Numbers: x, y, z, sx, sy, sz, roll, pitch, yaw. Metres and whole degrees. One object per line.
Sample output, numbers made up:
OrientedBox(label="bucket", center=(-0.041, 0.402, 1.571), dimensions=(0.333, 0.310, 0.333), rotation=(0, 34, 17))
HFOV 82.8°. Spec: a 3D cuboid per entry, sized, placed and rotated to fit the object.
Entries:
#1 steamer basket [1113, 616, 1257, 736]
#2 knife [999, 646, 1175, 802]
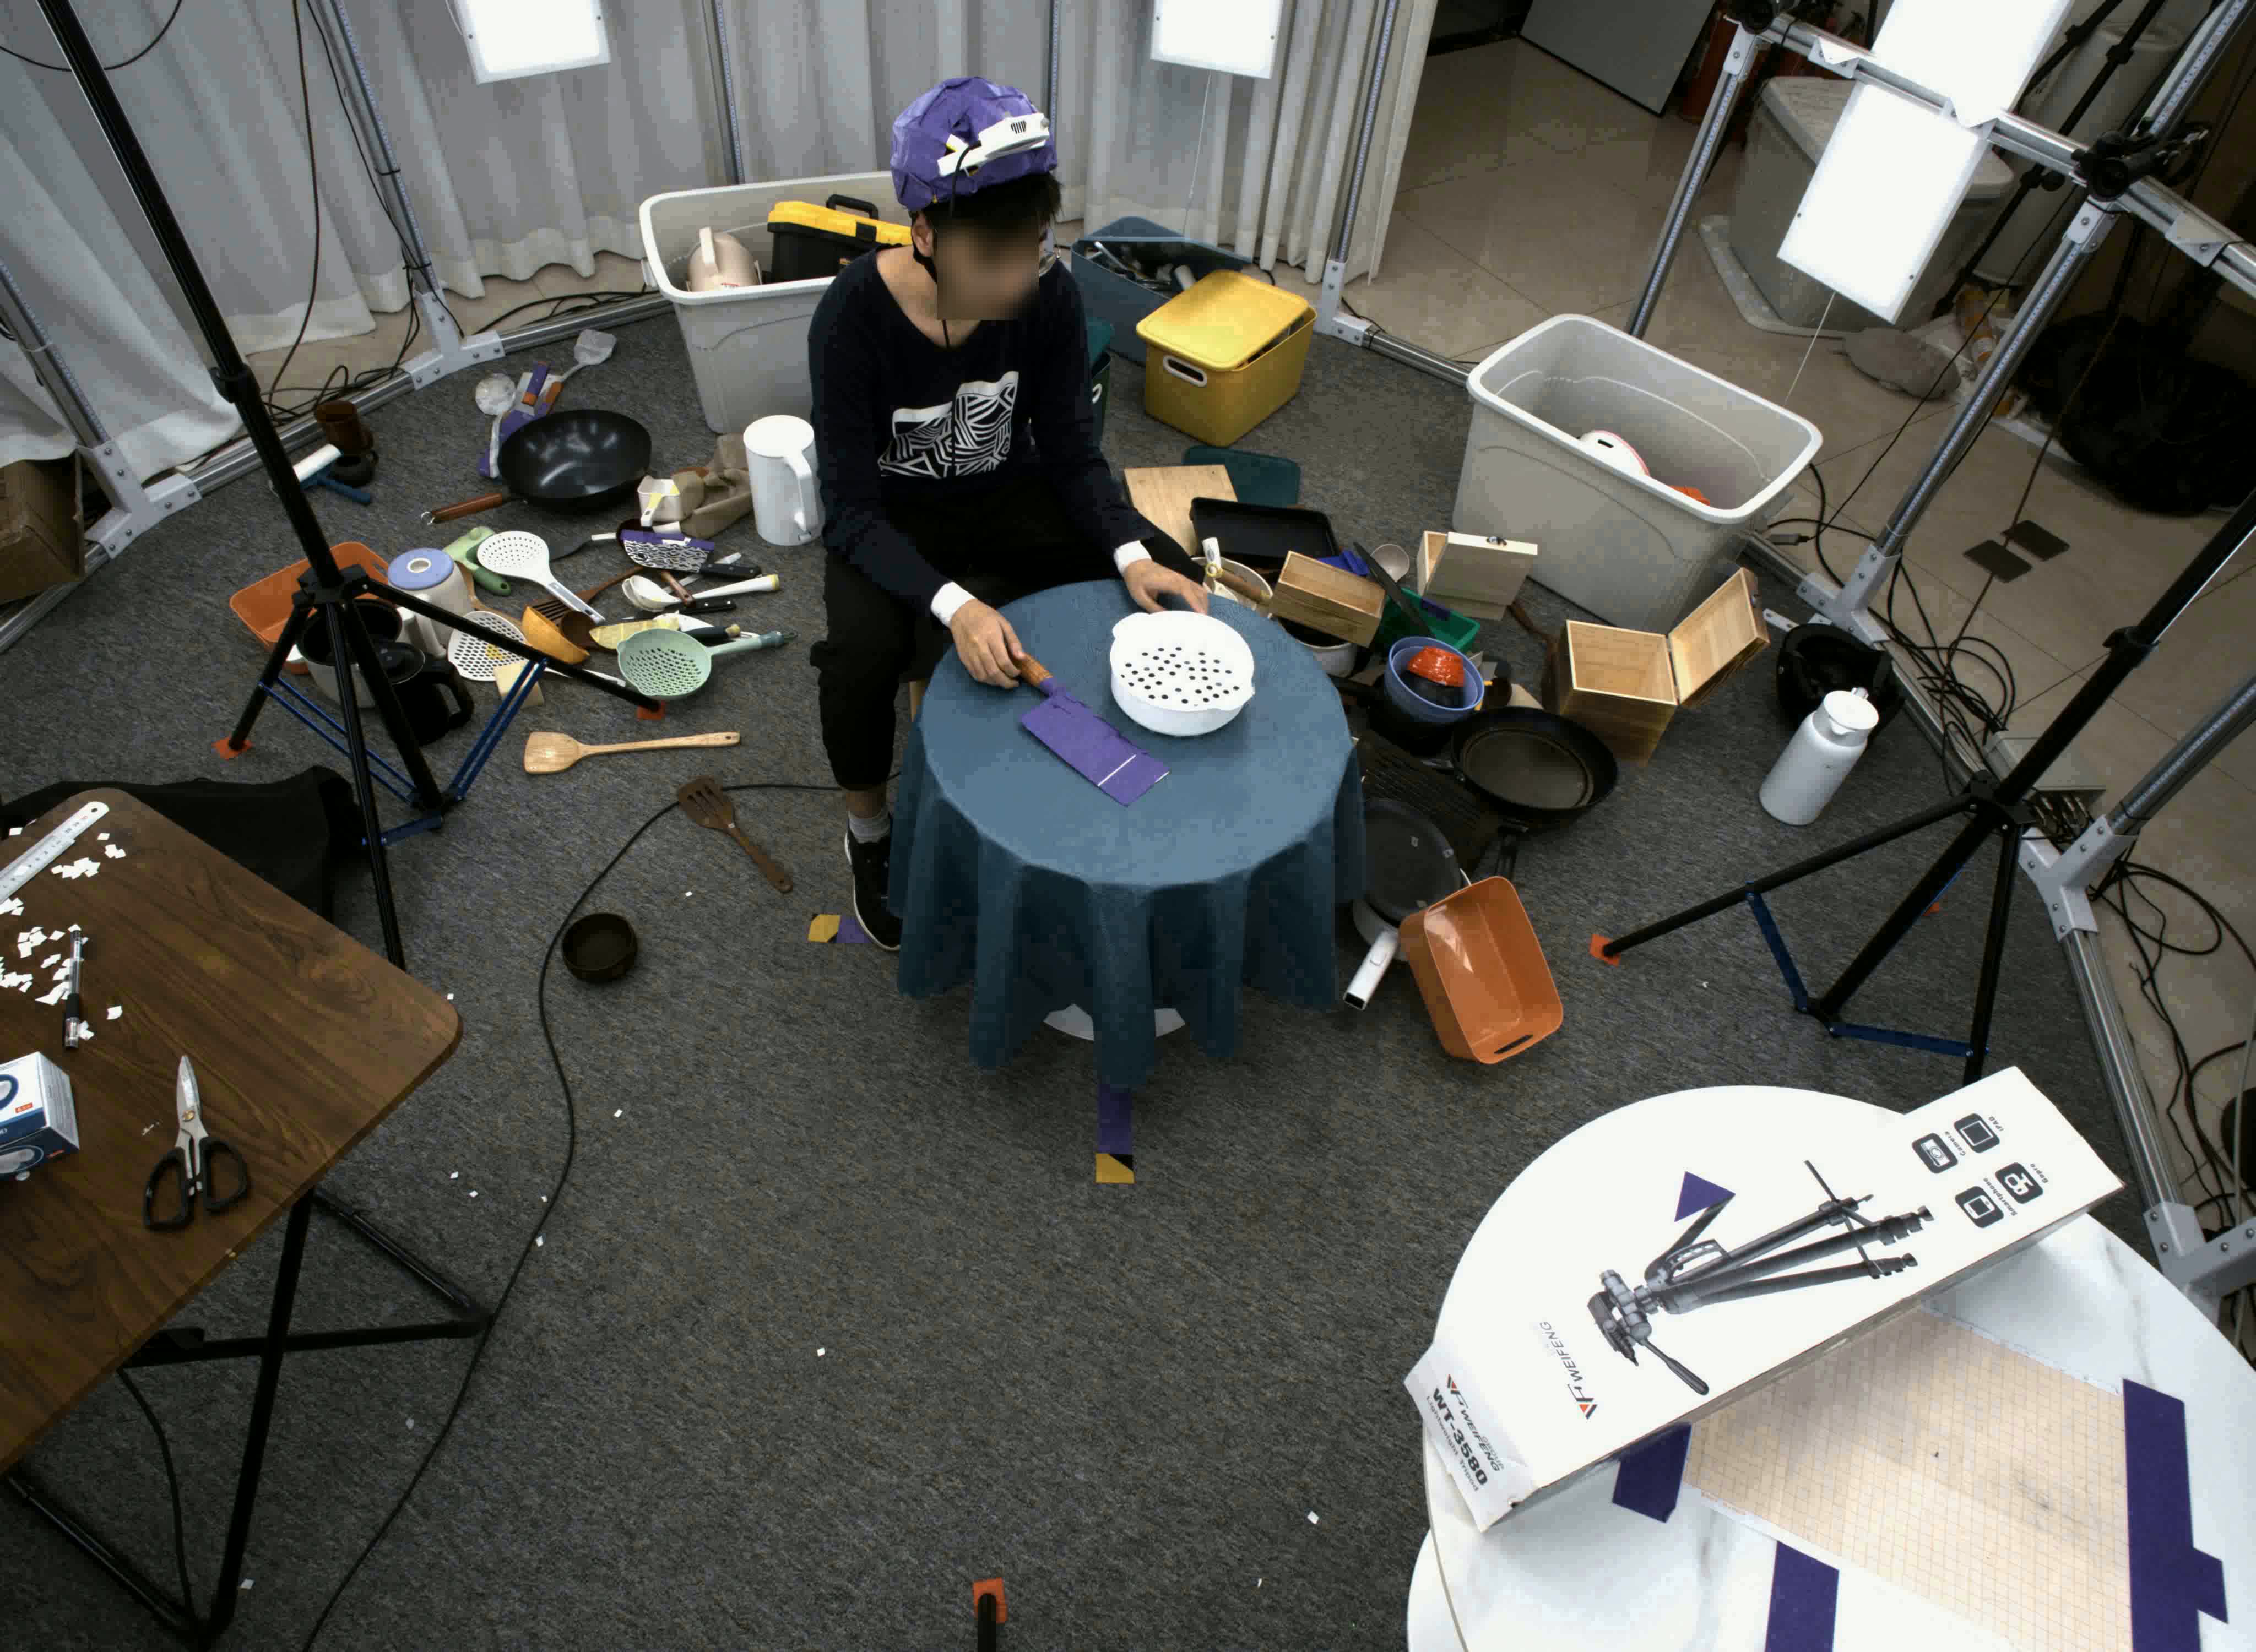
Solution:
OrientedBox(label="steamer basket", center=(0.078, -0.211, 1.814), dimensions=(0.234, 0.067, 0.204), rotation=(36, 55, 28))
OrientedBox(label="knife", center=(-0.082, -0.144, 1.769), dimensions=(0.320, 0.031, 0.105), rotation=(37, 56, 25))
